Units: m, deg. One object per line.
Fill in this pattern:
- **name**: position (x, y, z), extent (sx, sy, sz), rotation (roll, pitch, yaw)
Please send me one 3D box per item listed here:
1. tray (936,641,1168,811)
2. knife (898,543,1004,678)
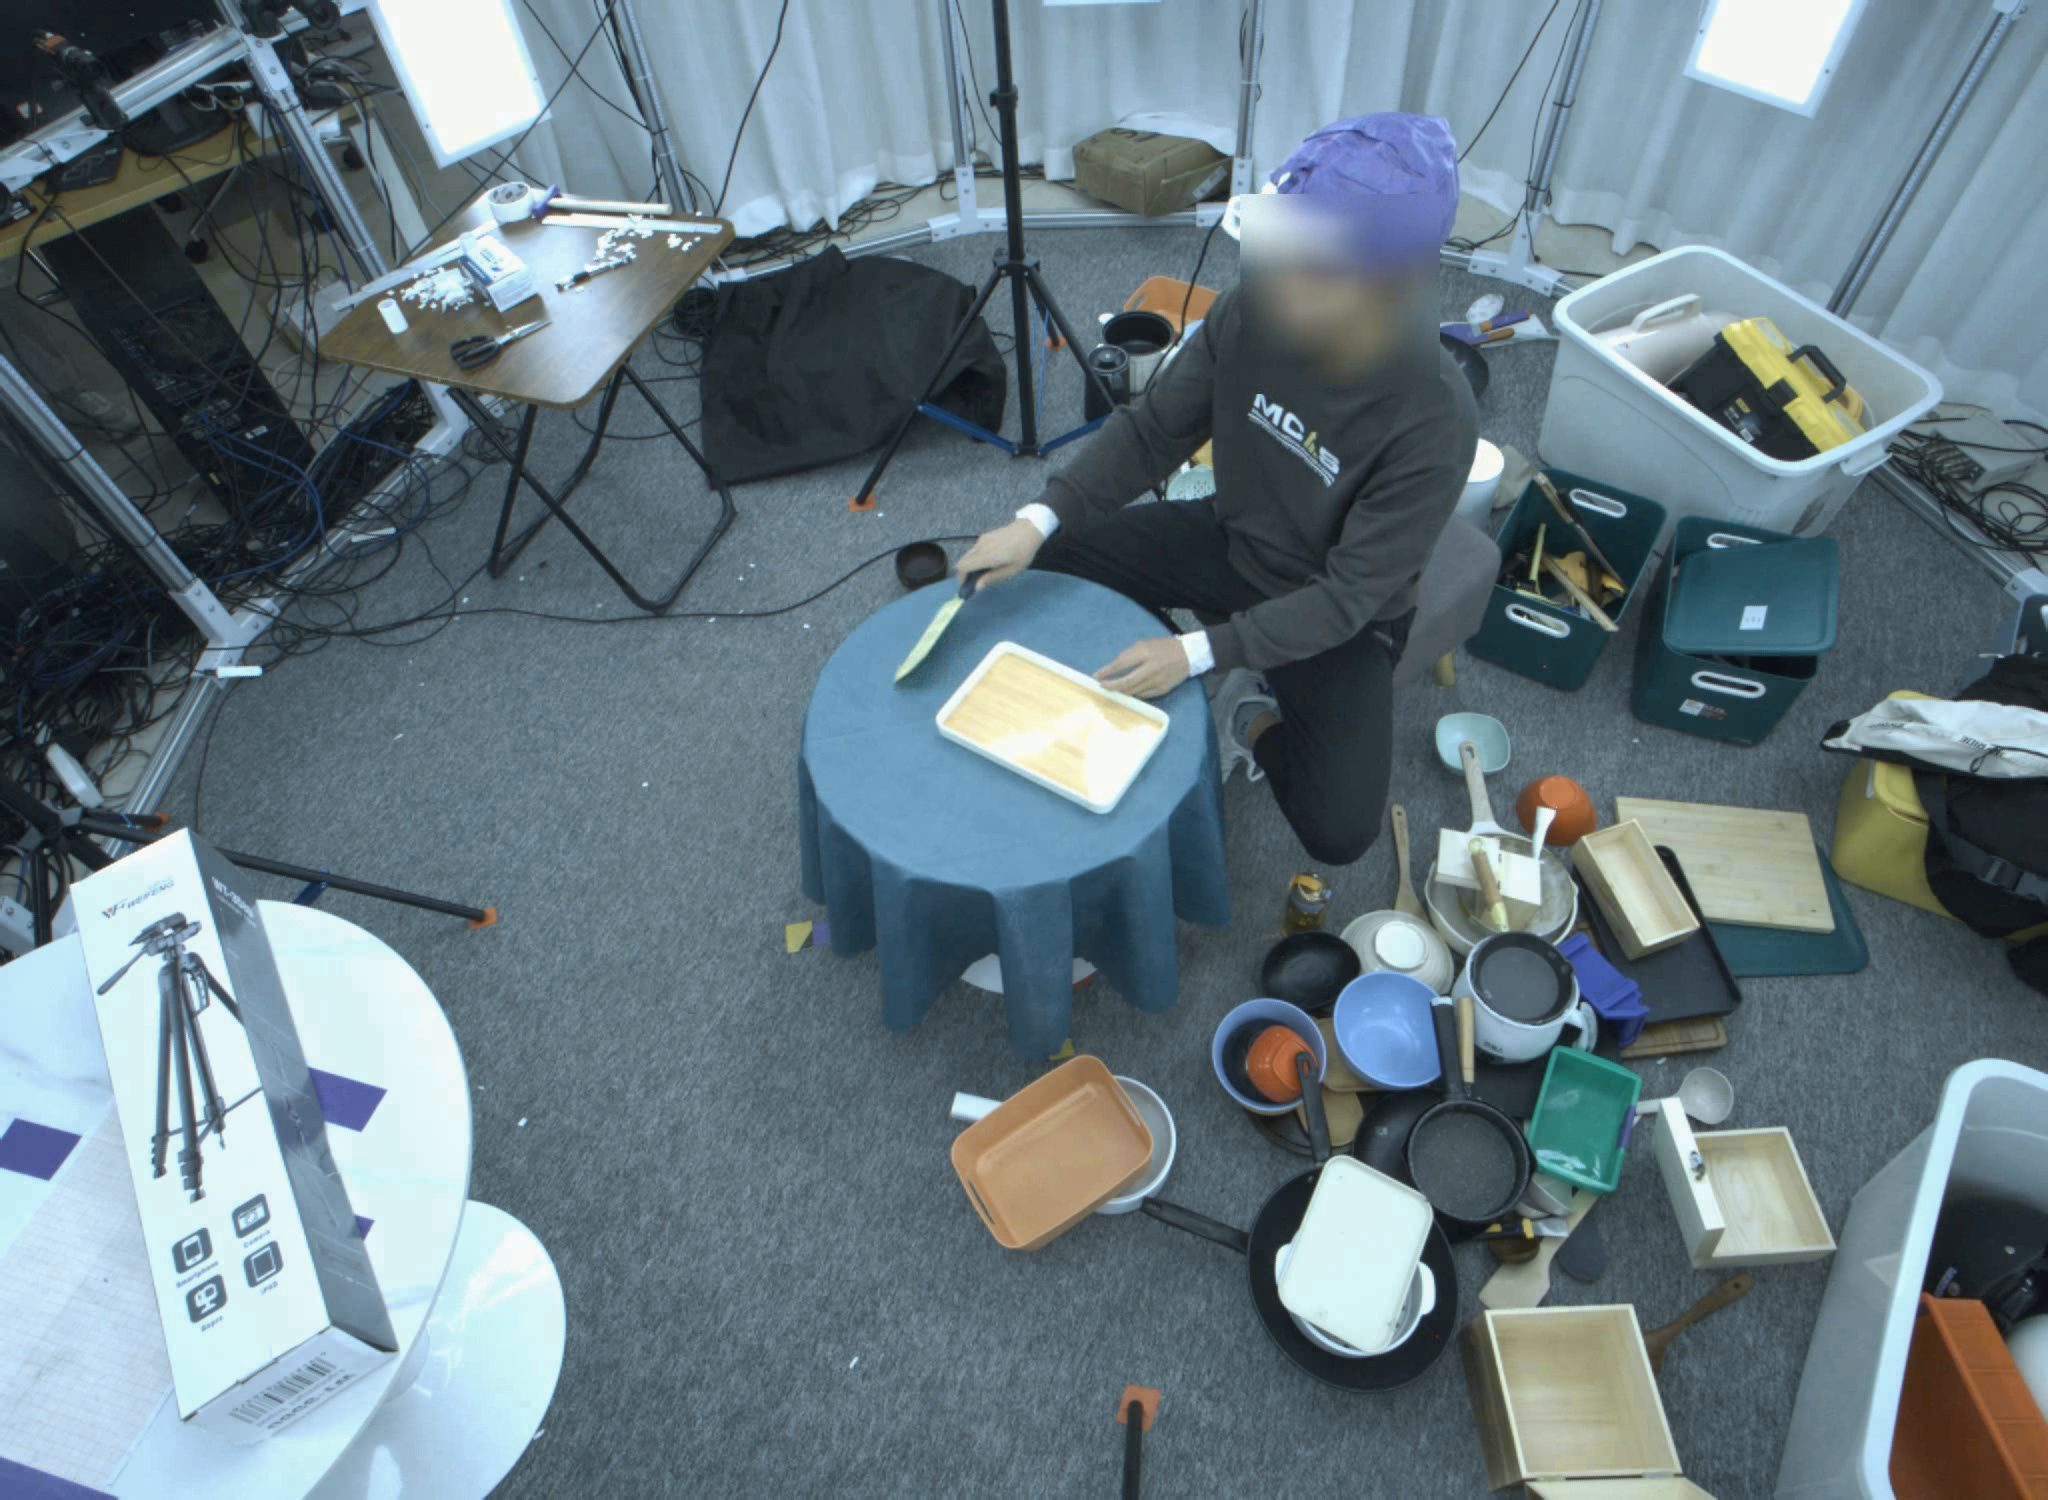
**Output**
- **tray**: position (0.041, -0.040, 1.806), extent (0.296, 0.027, 0.192), rotation (27, 58, 19)
- **knife**: position (-0.116, -0.218, 1.912), extent (0.079, 0.028, 0.290), rotation (-4, 46, 52)
